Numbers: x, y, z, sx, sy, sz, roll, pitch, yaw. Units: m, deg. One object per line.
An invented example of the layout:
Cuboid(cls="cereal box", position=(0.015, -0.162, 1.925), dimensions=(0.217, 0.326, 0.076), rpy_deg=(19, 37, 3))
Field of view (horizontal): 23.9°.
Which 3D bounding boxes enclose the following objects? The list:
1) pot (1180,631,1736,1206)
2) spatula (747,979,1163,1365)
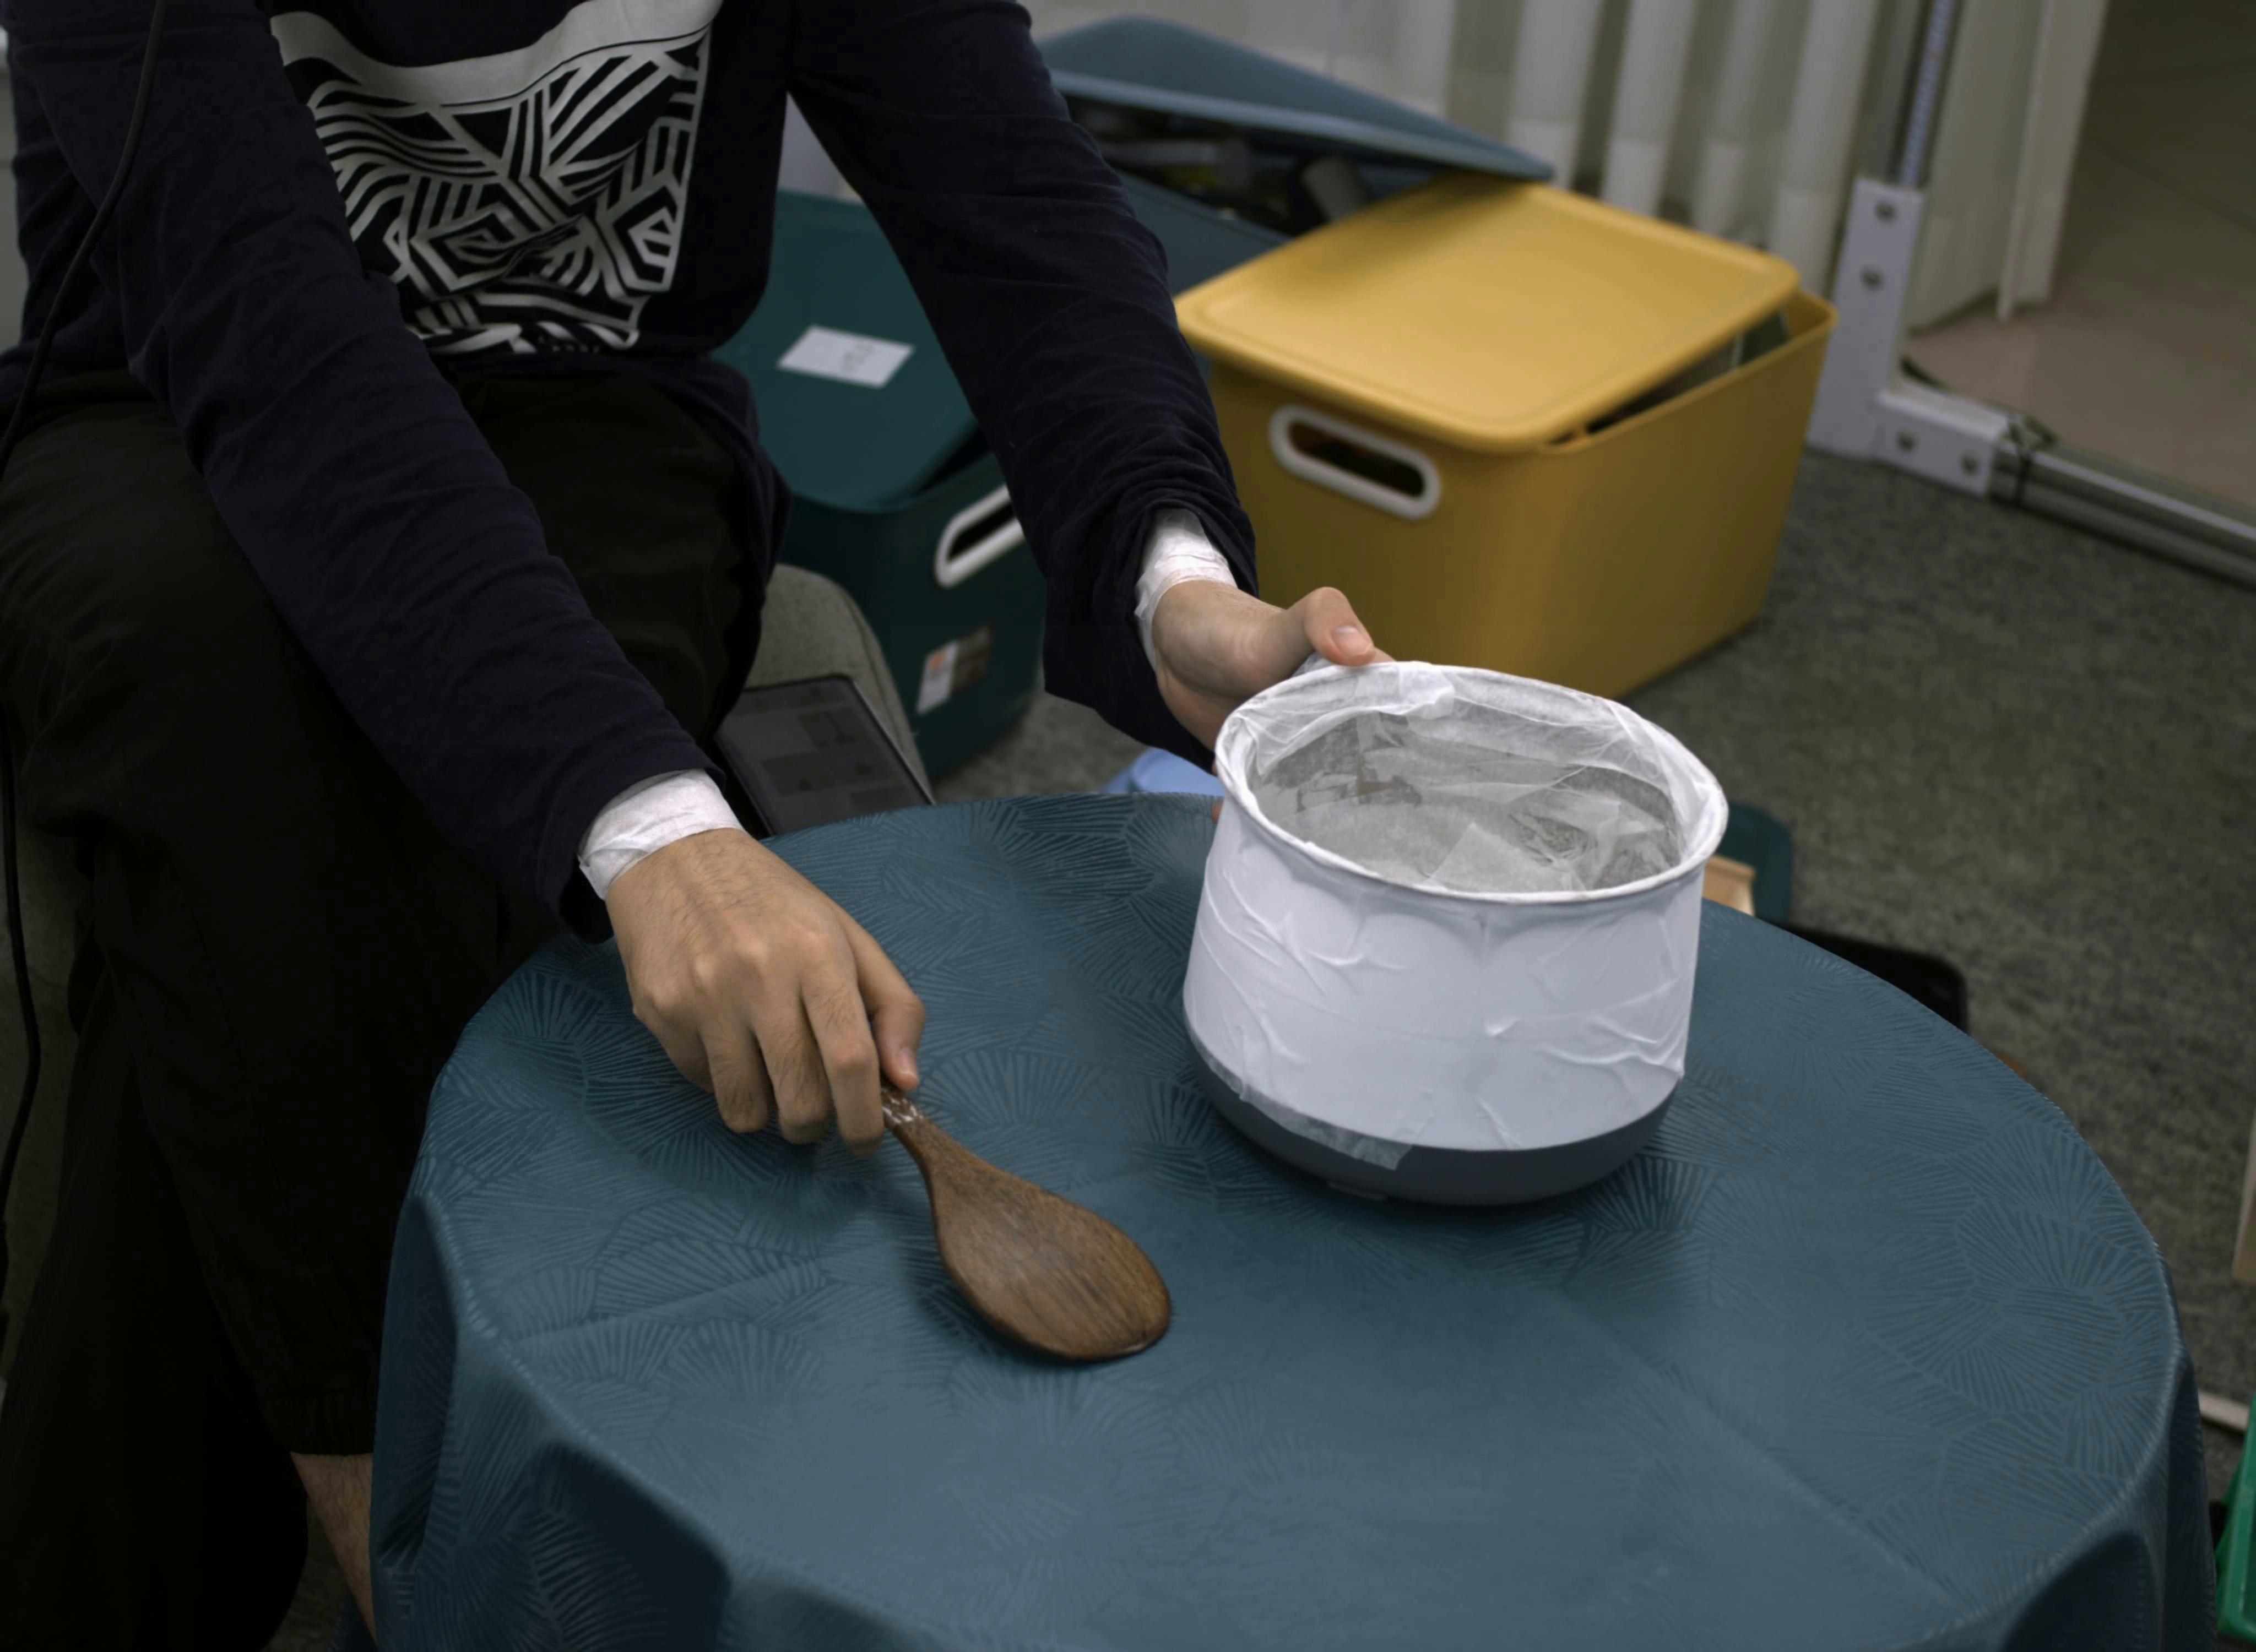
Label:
Cuboid(cls="pot", position=(0.099, 0.025, 1.867), dimensions=(0.177, 0.136, 0.236), rpy_deg=(-4, 30, -26))
Cuboid(cls="spatula", position=(-0.064, 0.111, 1.776), dimensions=(0.071, 0.009, 0.218), rpy_deg=(-7, 37, -38))
